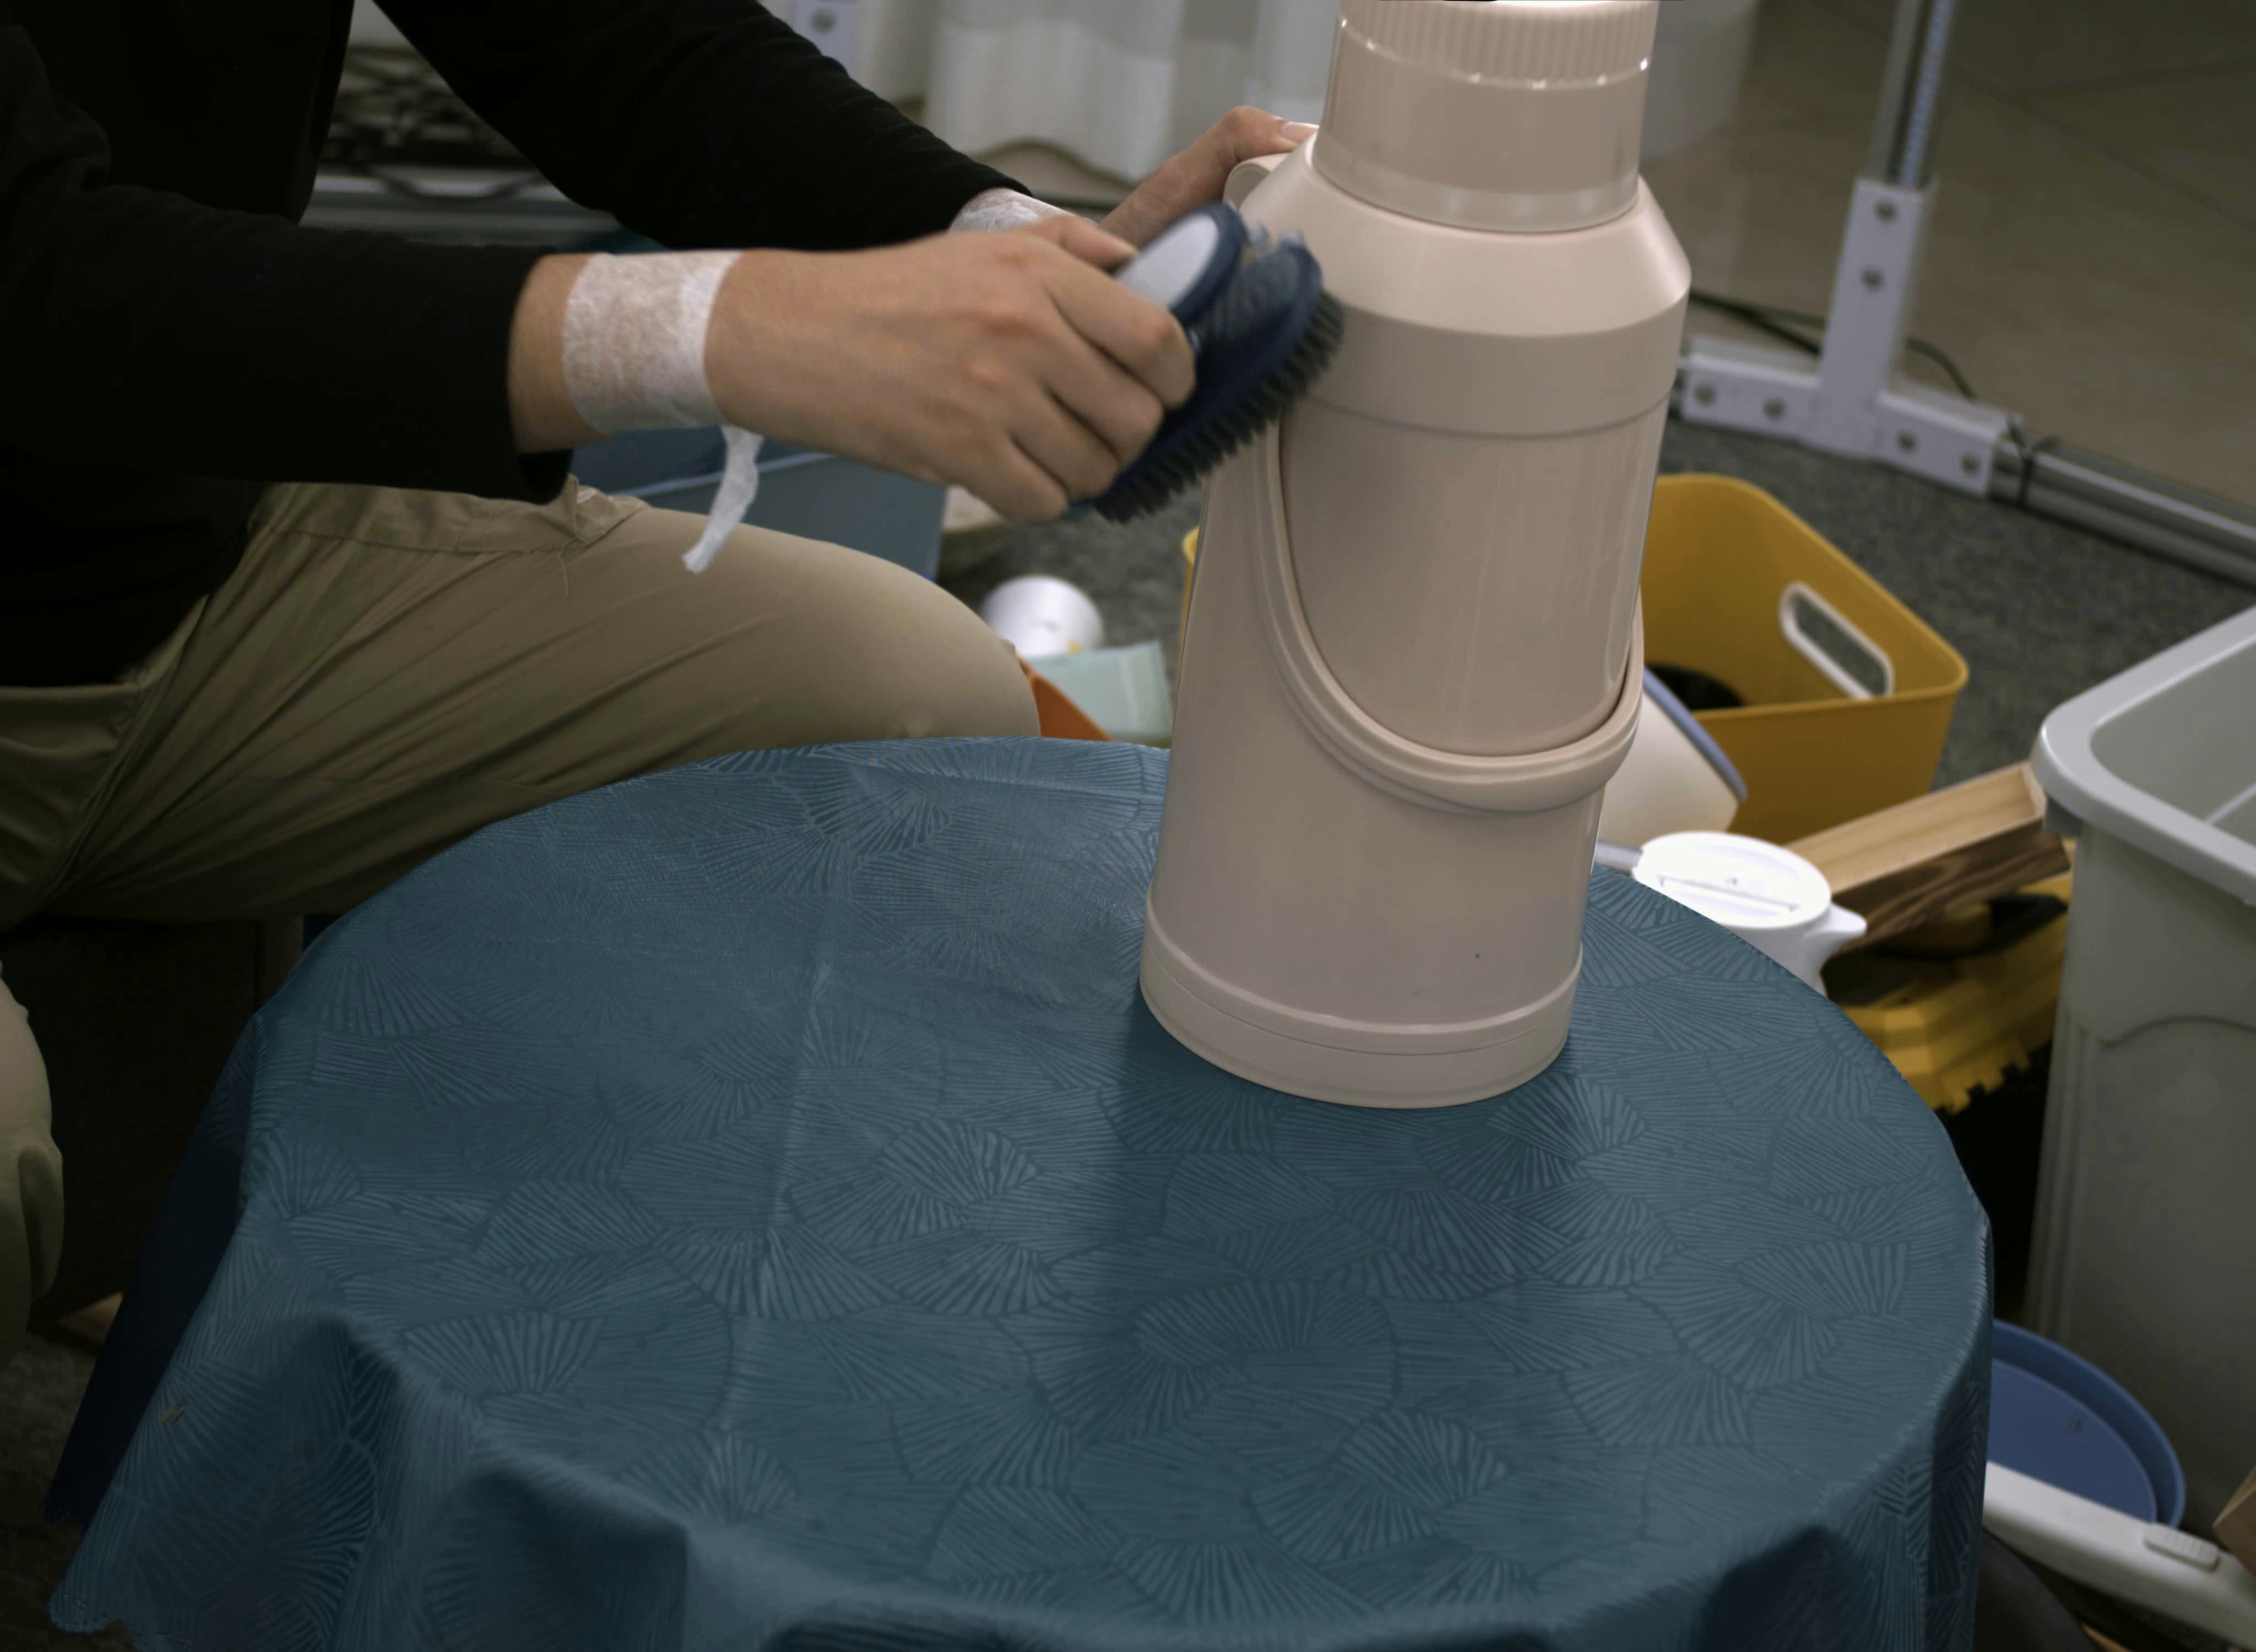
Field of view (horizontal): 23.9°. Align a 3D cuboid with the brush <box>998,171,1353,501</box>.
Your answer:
[{"bbox_3d":[0.017,-0.155,1.709,0.061,0.121,0.068,38,35,-26],"label":"brush"}]

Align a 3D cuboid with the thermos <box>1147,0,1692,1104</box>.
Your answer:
[{"bbox_3d":[0.097,-0.119,1.864,0.174,0.405,0.209,-15,34,-34],"label":"thermos"}]
